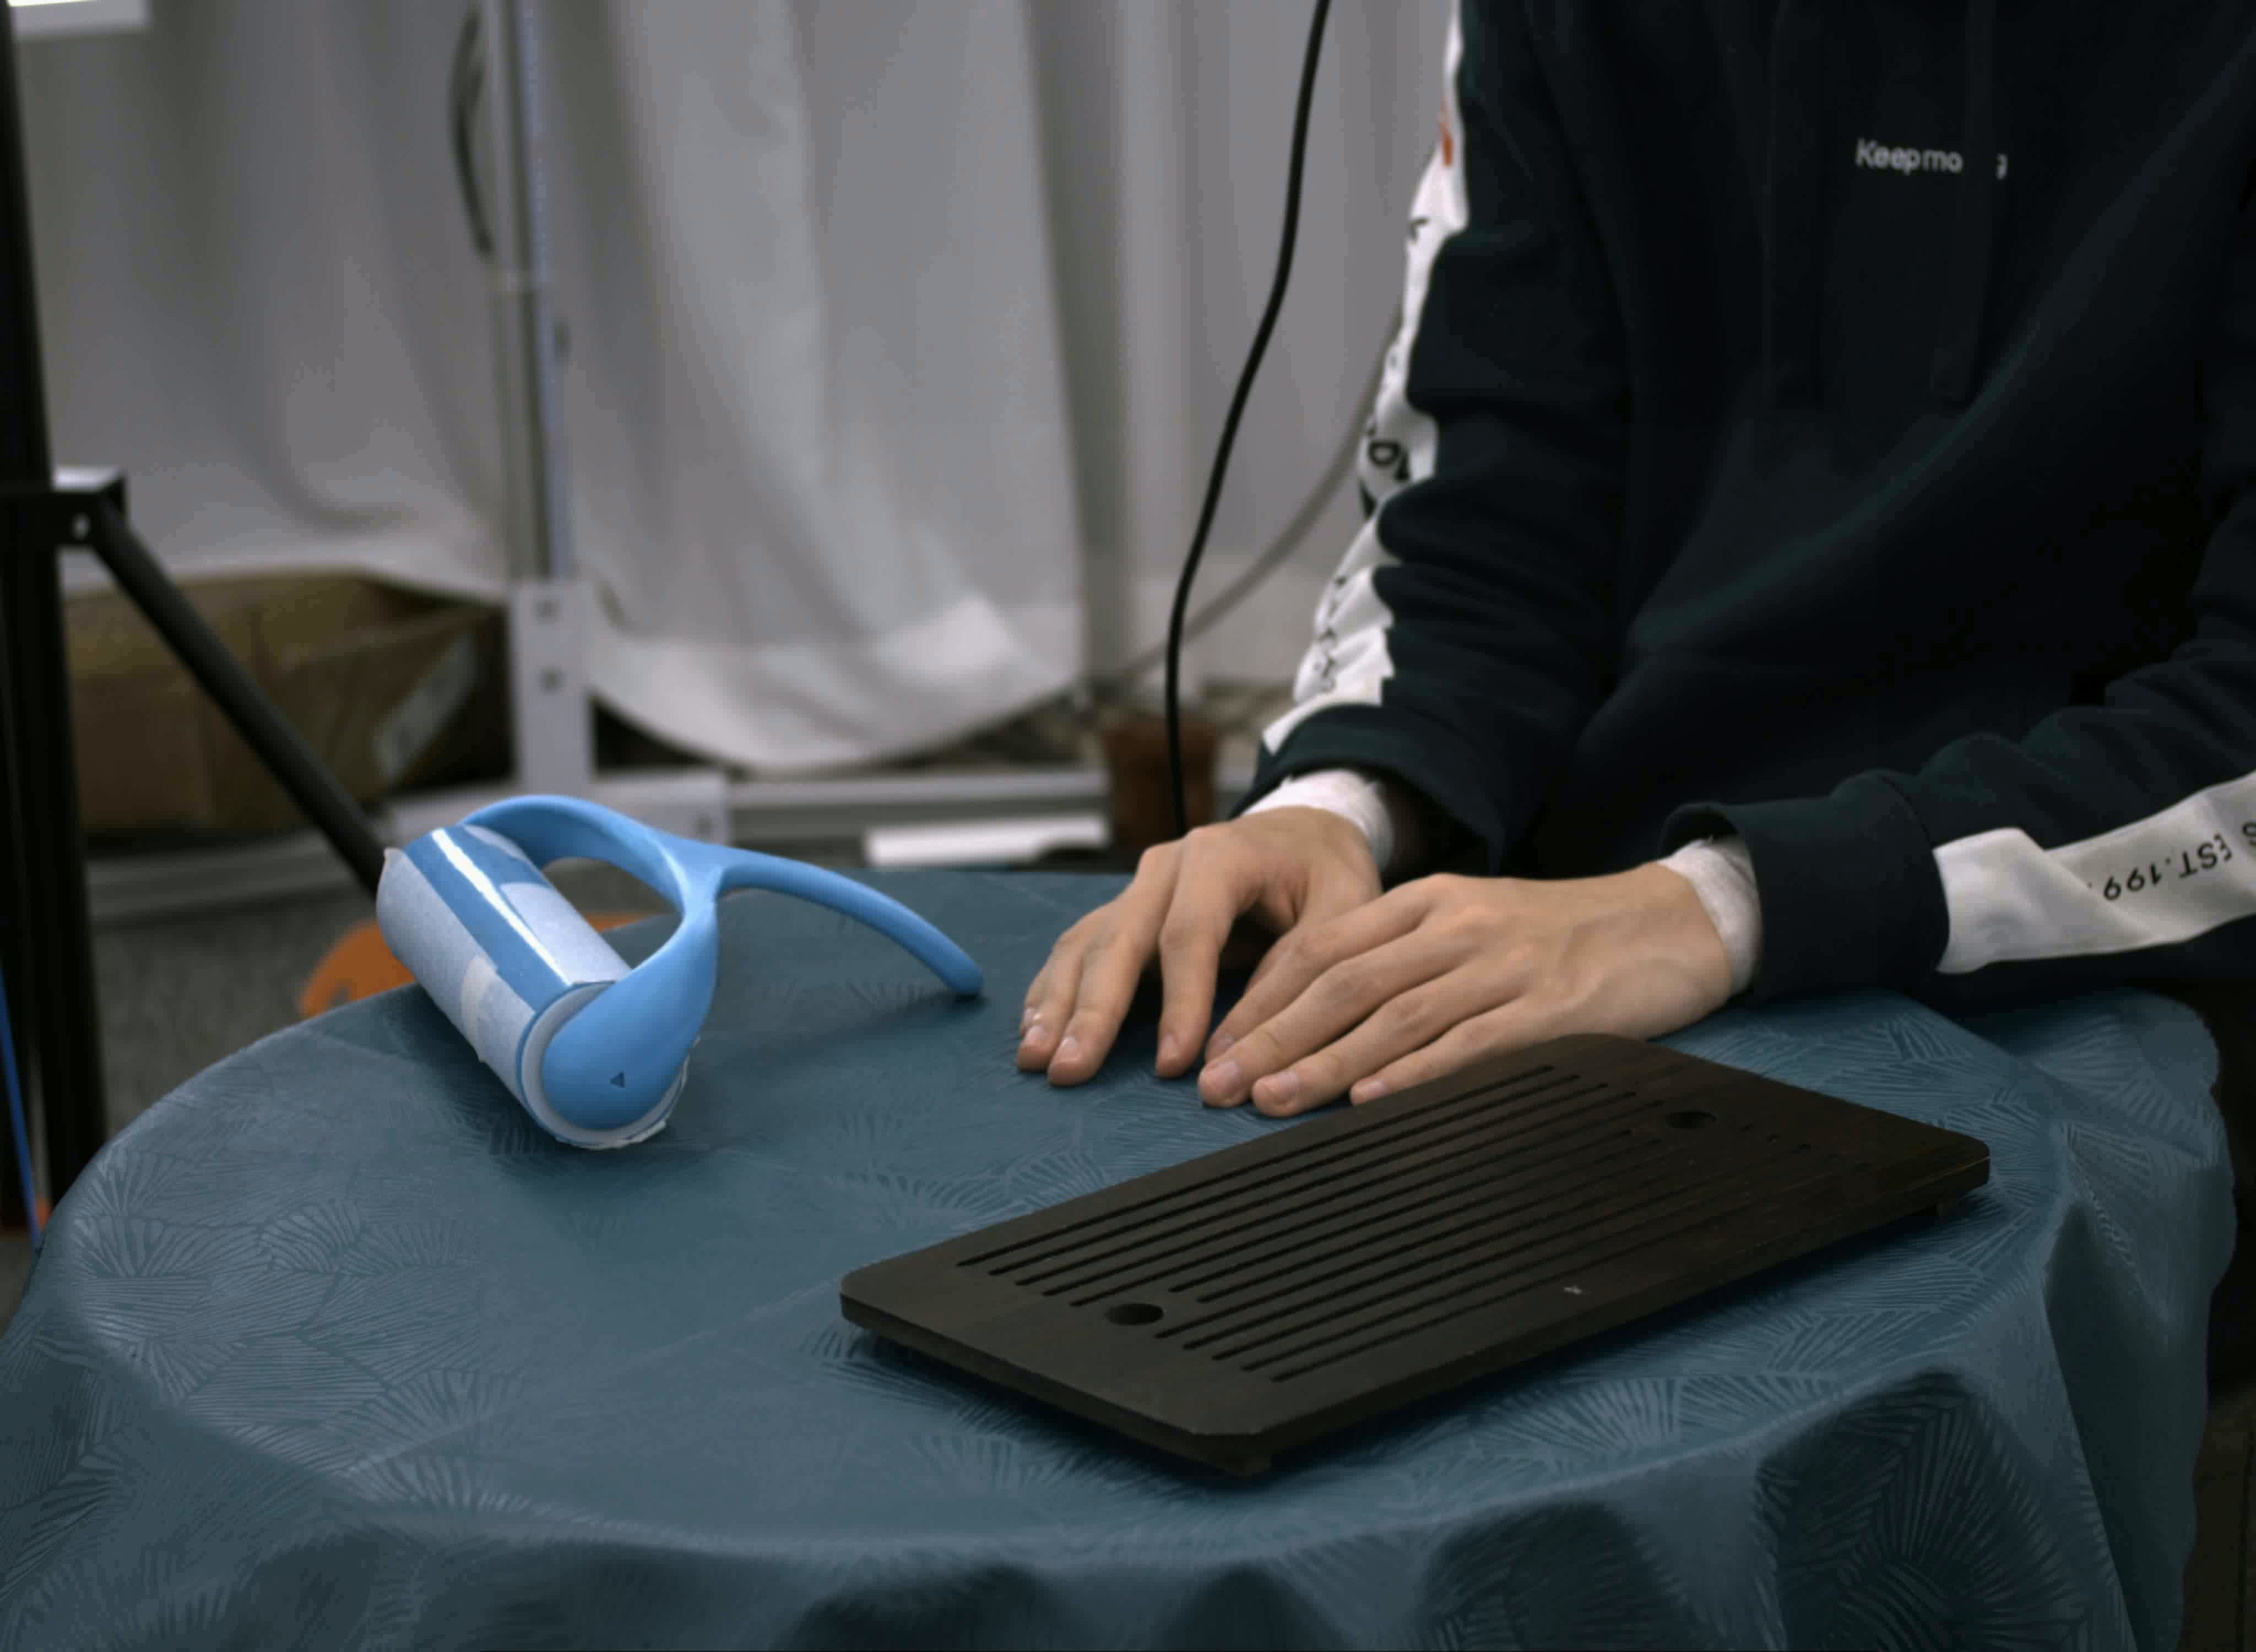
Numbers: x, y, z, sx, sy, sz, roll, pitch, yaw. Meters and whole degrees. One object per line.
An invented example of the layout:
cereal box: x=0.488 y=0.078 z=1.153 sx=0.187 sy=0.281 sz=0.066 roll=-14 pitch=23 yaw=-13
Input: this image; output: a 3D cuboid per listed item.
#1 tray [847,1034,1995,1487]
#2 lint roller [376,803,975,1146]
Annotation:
tray: x=0.086 y=0.117 z=1.477 sx=0.299 sy=0.018 sz=0.174 roll=-15 pitch=20 yaw=-38
lint roller: x=-0.137 y=0.039 z=1.719 sx=0.177 sy=0.068 sz=0.233 roll=-10 pitch=16 yaw=-20
